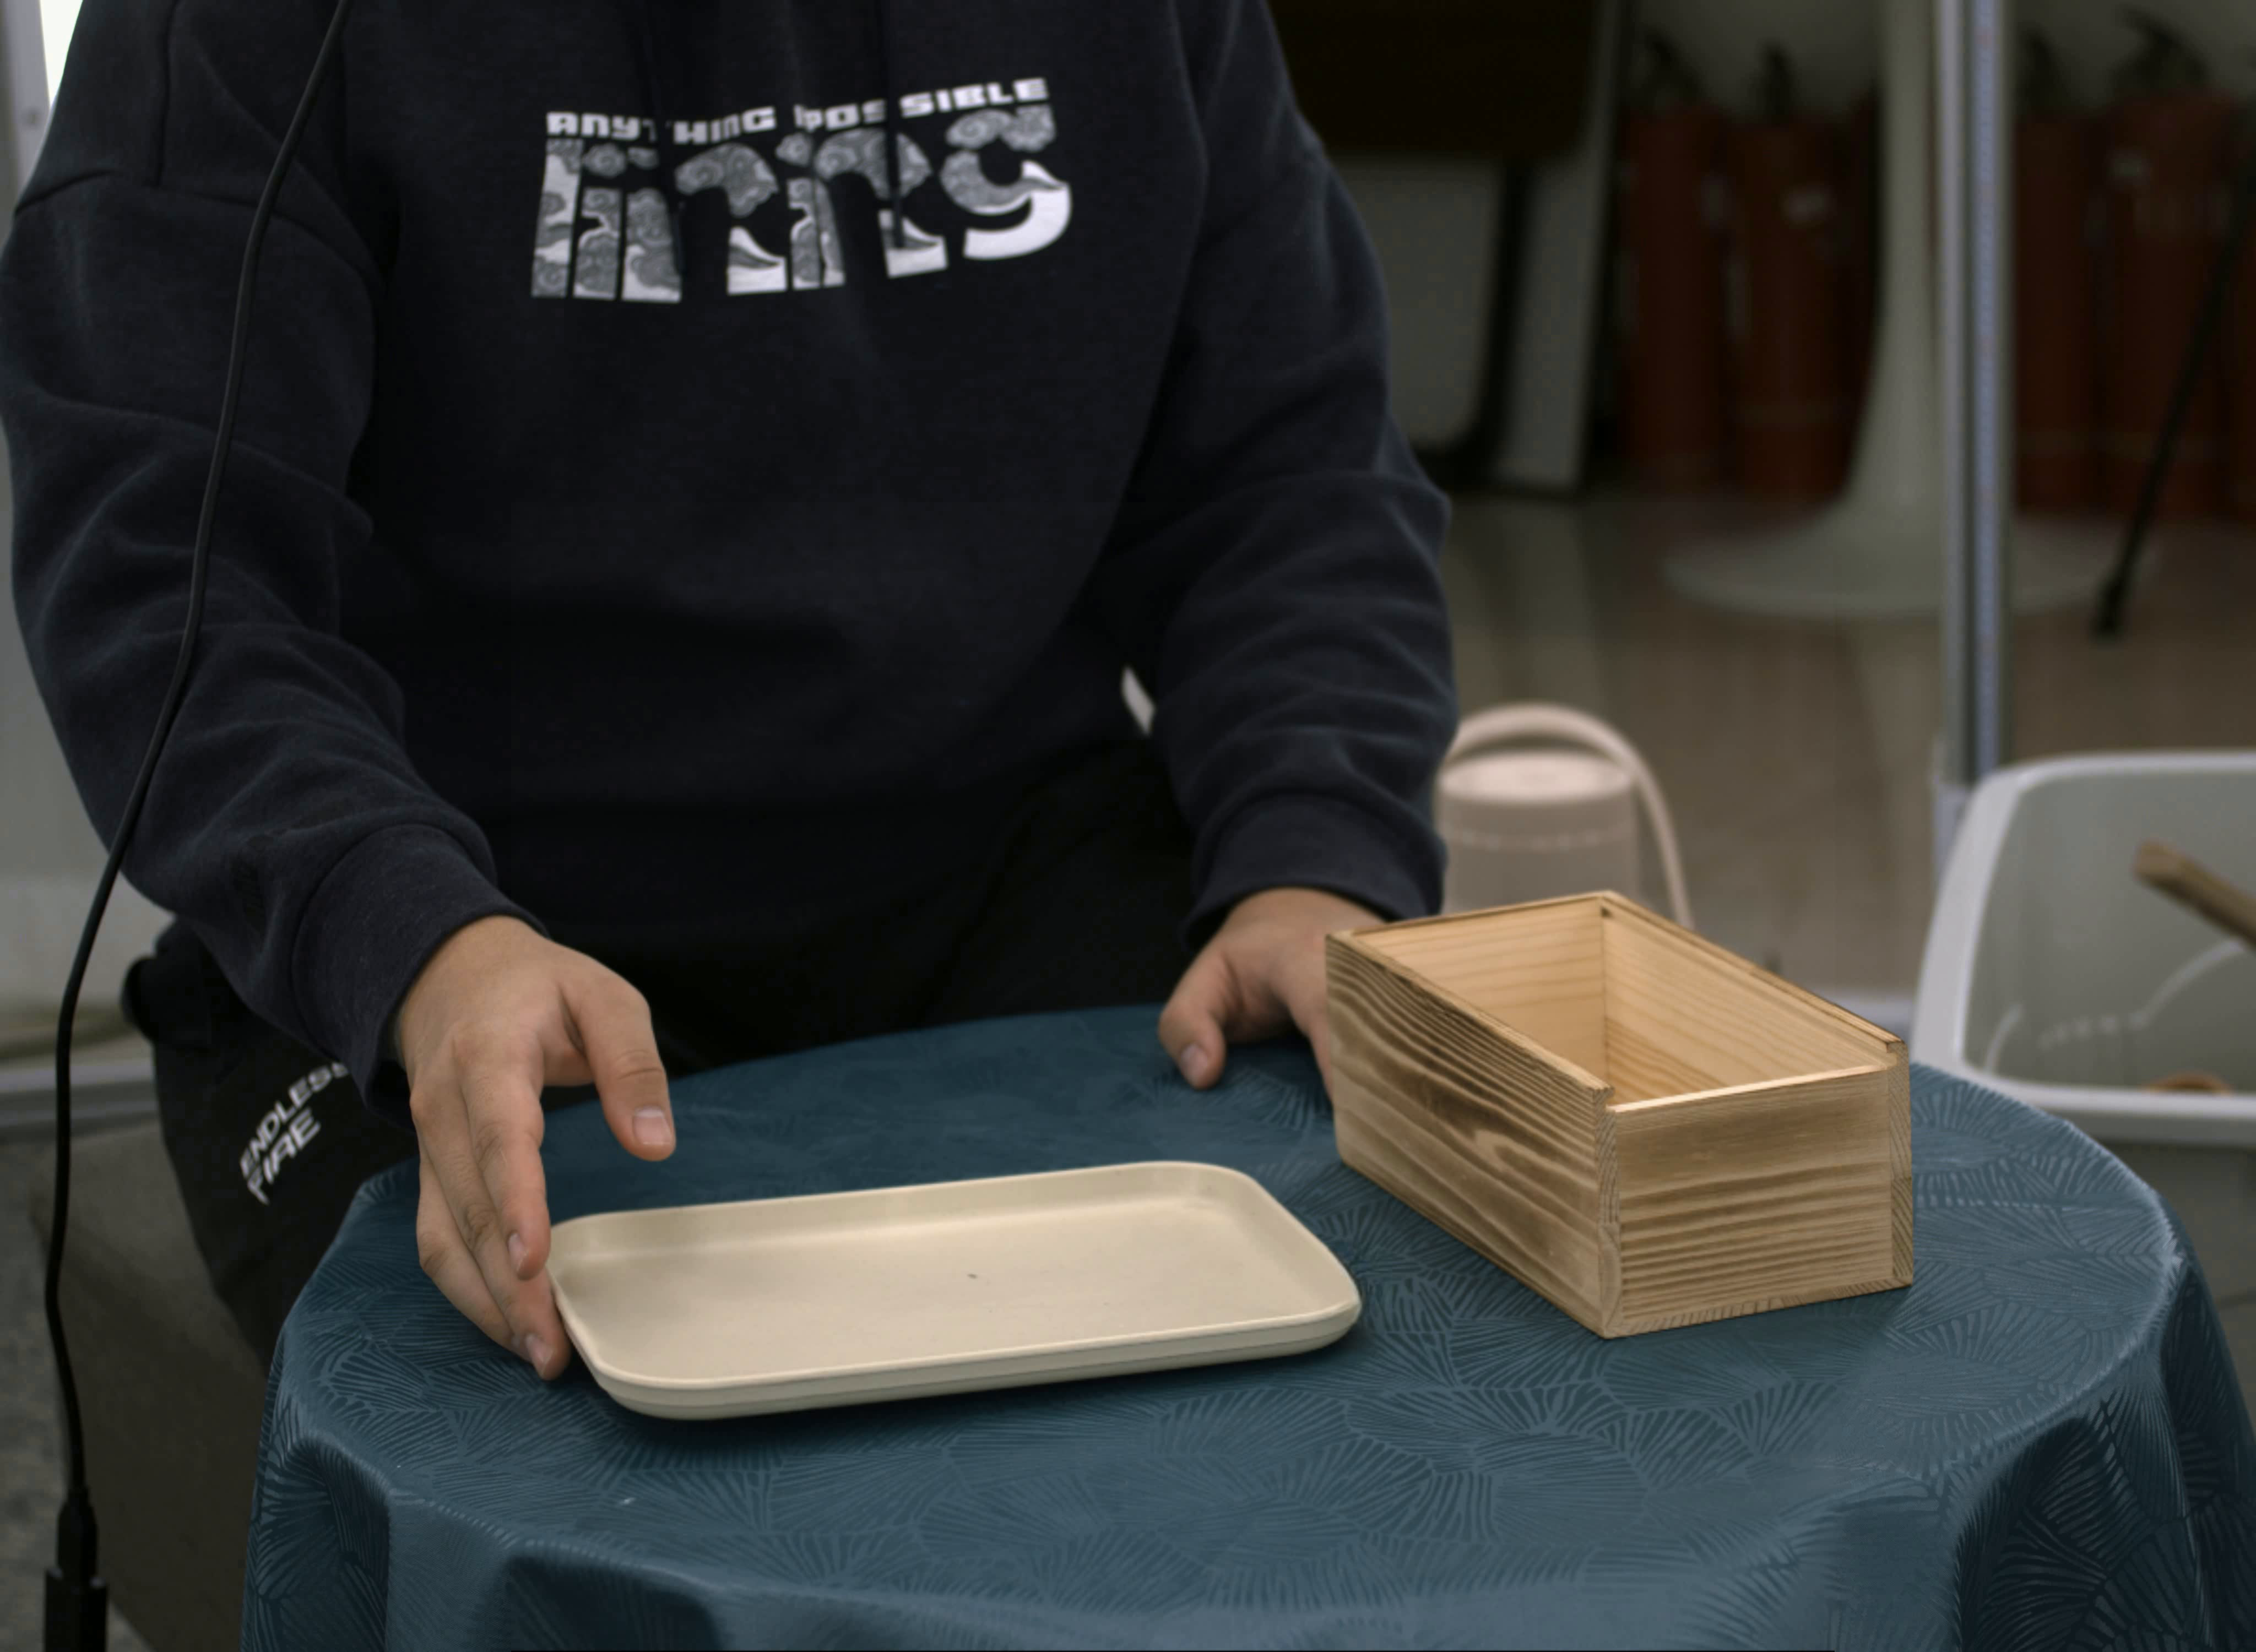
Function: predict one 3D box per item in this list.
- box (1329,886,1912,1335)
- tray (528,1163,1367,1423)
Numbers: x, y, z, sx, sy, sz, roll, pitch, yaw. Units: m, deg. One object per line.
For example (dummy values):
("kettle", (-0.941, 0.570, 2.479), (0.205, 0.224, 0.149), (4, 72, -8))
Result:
("box", (0.152, 0.086, 1.705), (0.105, 0.081, 0.213), (-8, 14, -19))
("tray", (-0.057, 0.142, 1.650), (0.235, 0.018, 0.172), (-5, 13, -14))
